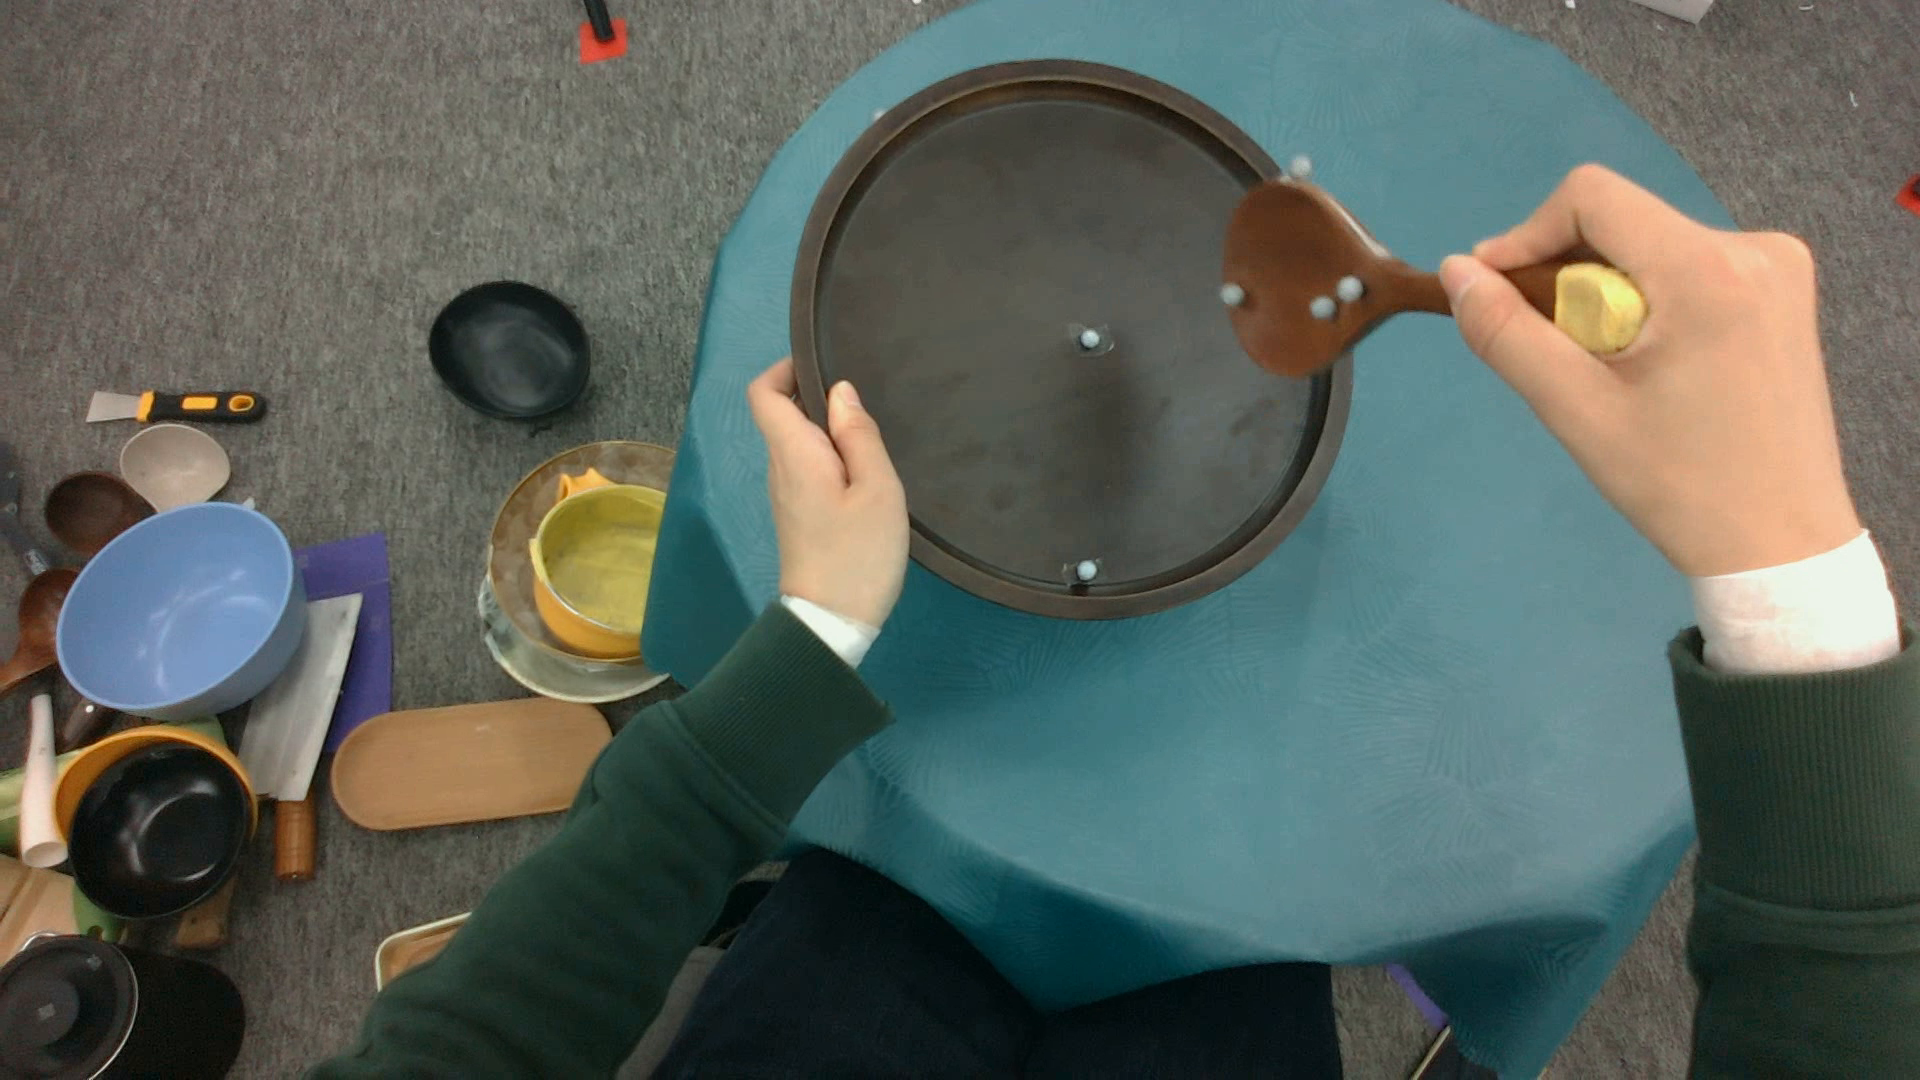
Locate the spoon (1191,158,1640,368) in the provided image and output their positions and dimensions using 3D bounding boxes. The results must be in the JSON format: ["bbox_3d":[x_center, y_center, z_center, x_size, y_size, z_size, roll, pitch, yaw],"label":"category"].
[{"bbox_3d":[0.134,-0.086,0.448,0.017,0.216,0.075,-9,107,-18],"label":"spoon"}]

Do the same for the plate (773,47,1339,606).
[{"bbox_3d":[0.045,-0.095,0.604,0.255,0.029,0.255,3,78,-12],"label":"plate"}]
